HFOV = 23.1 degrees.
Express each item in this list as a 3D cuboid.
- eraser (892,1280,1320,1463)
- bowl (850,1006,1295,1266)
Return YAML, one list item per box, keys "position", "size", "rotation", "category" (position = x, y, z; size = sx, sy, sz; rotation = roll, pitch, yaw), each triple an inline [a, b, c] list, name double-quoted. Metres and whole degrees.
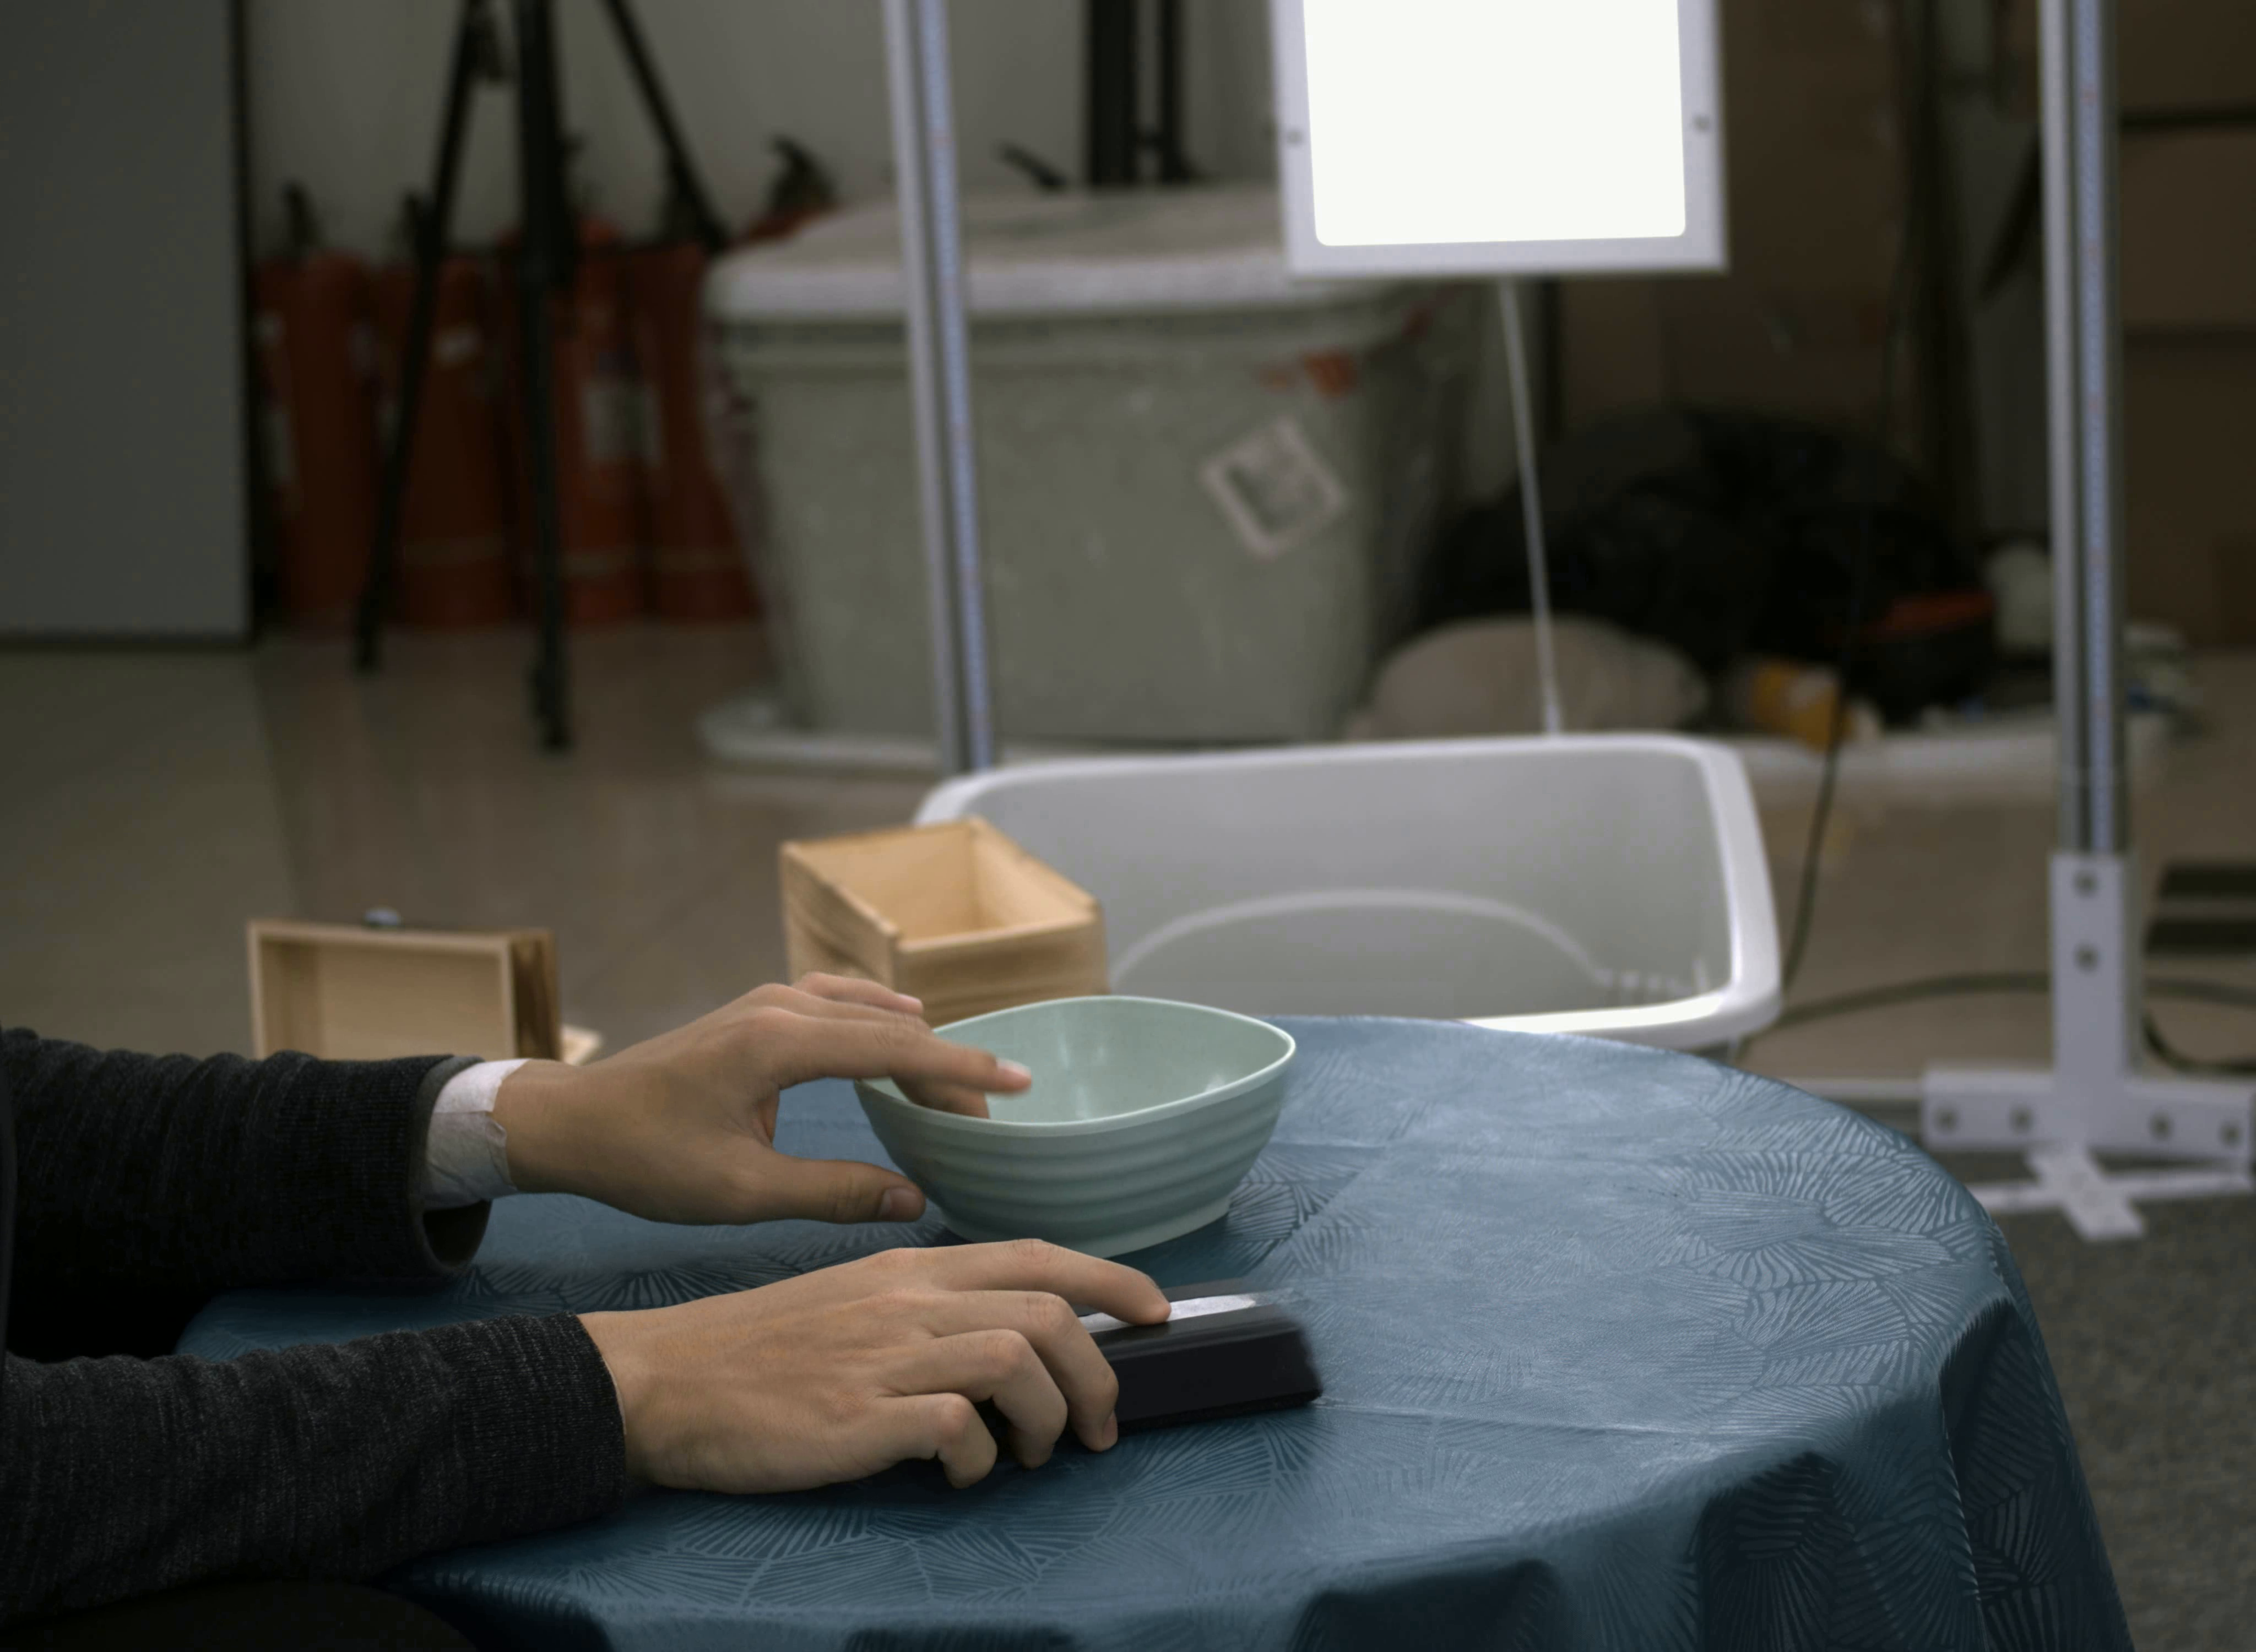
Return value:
- position: [-0.006, 0.165, 1.681]
  size: [0.124, 0.030, 0.054]
  rotation: [-8, 11, -11]
  category: "eraser"
- position: [-0.018, 0.107, 1.867]
  size: [0.151, 0.059, 0.151]
  rotation: [-3, 13, -1]
  category: "bowl"
